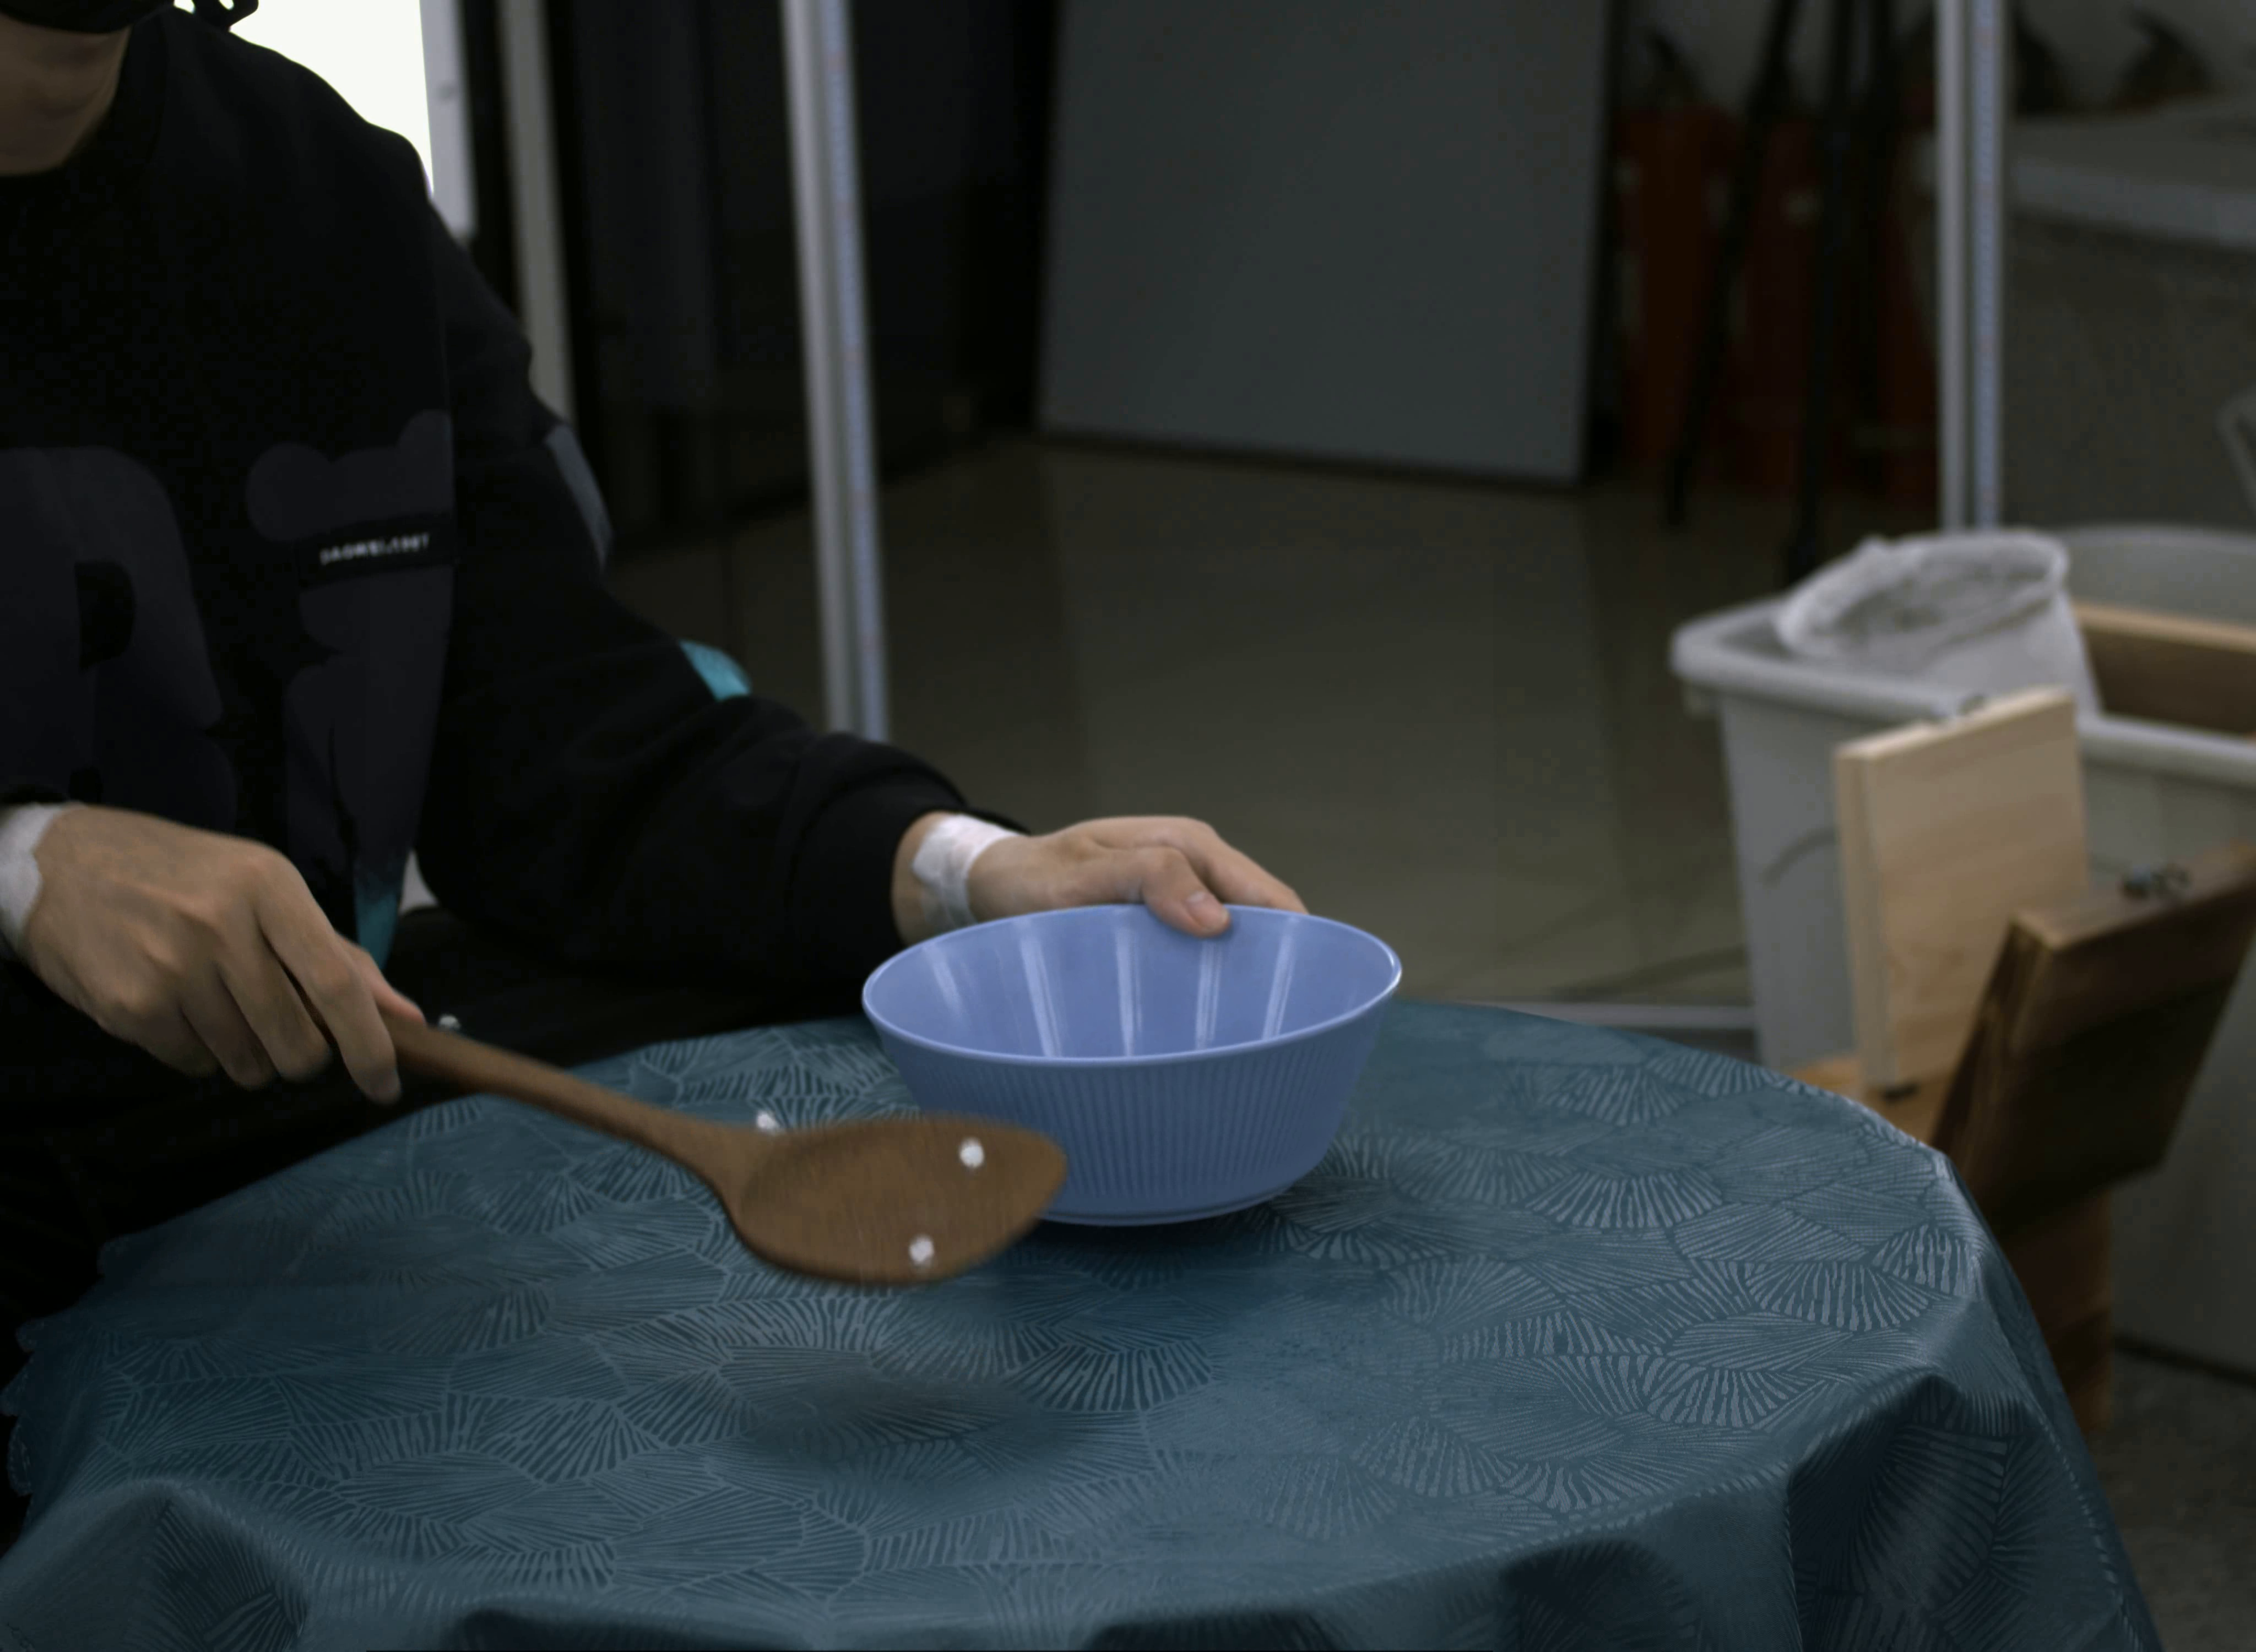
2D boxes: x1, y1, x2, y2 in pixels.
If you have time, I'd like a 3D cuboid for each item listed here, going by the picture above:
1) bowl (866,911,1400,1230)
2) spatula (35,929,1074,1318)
[{"bbox_3d":[0.004,0.081,1.746,0.174,0.071,0.176,-4,13,0],"label":"bowl"},{"bbox_3d":[-0.190,0.083,1.660,0.388,0.016,0.095,16,32,30],"label":"spatula"}]
